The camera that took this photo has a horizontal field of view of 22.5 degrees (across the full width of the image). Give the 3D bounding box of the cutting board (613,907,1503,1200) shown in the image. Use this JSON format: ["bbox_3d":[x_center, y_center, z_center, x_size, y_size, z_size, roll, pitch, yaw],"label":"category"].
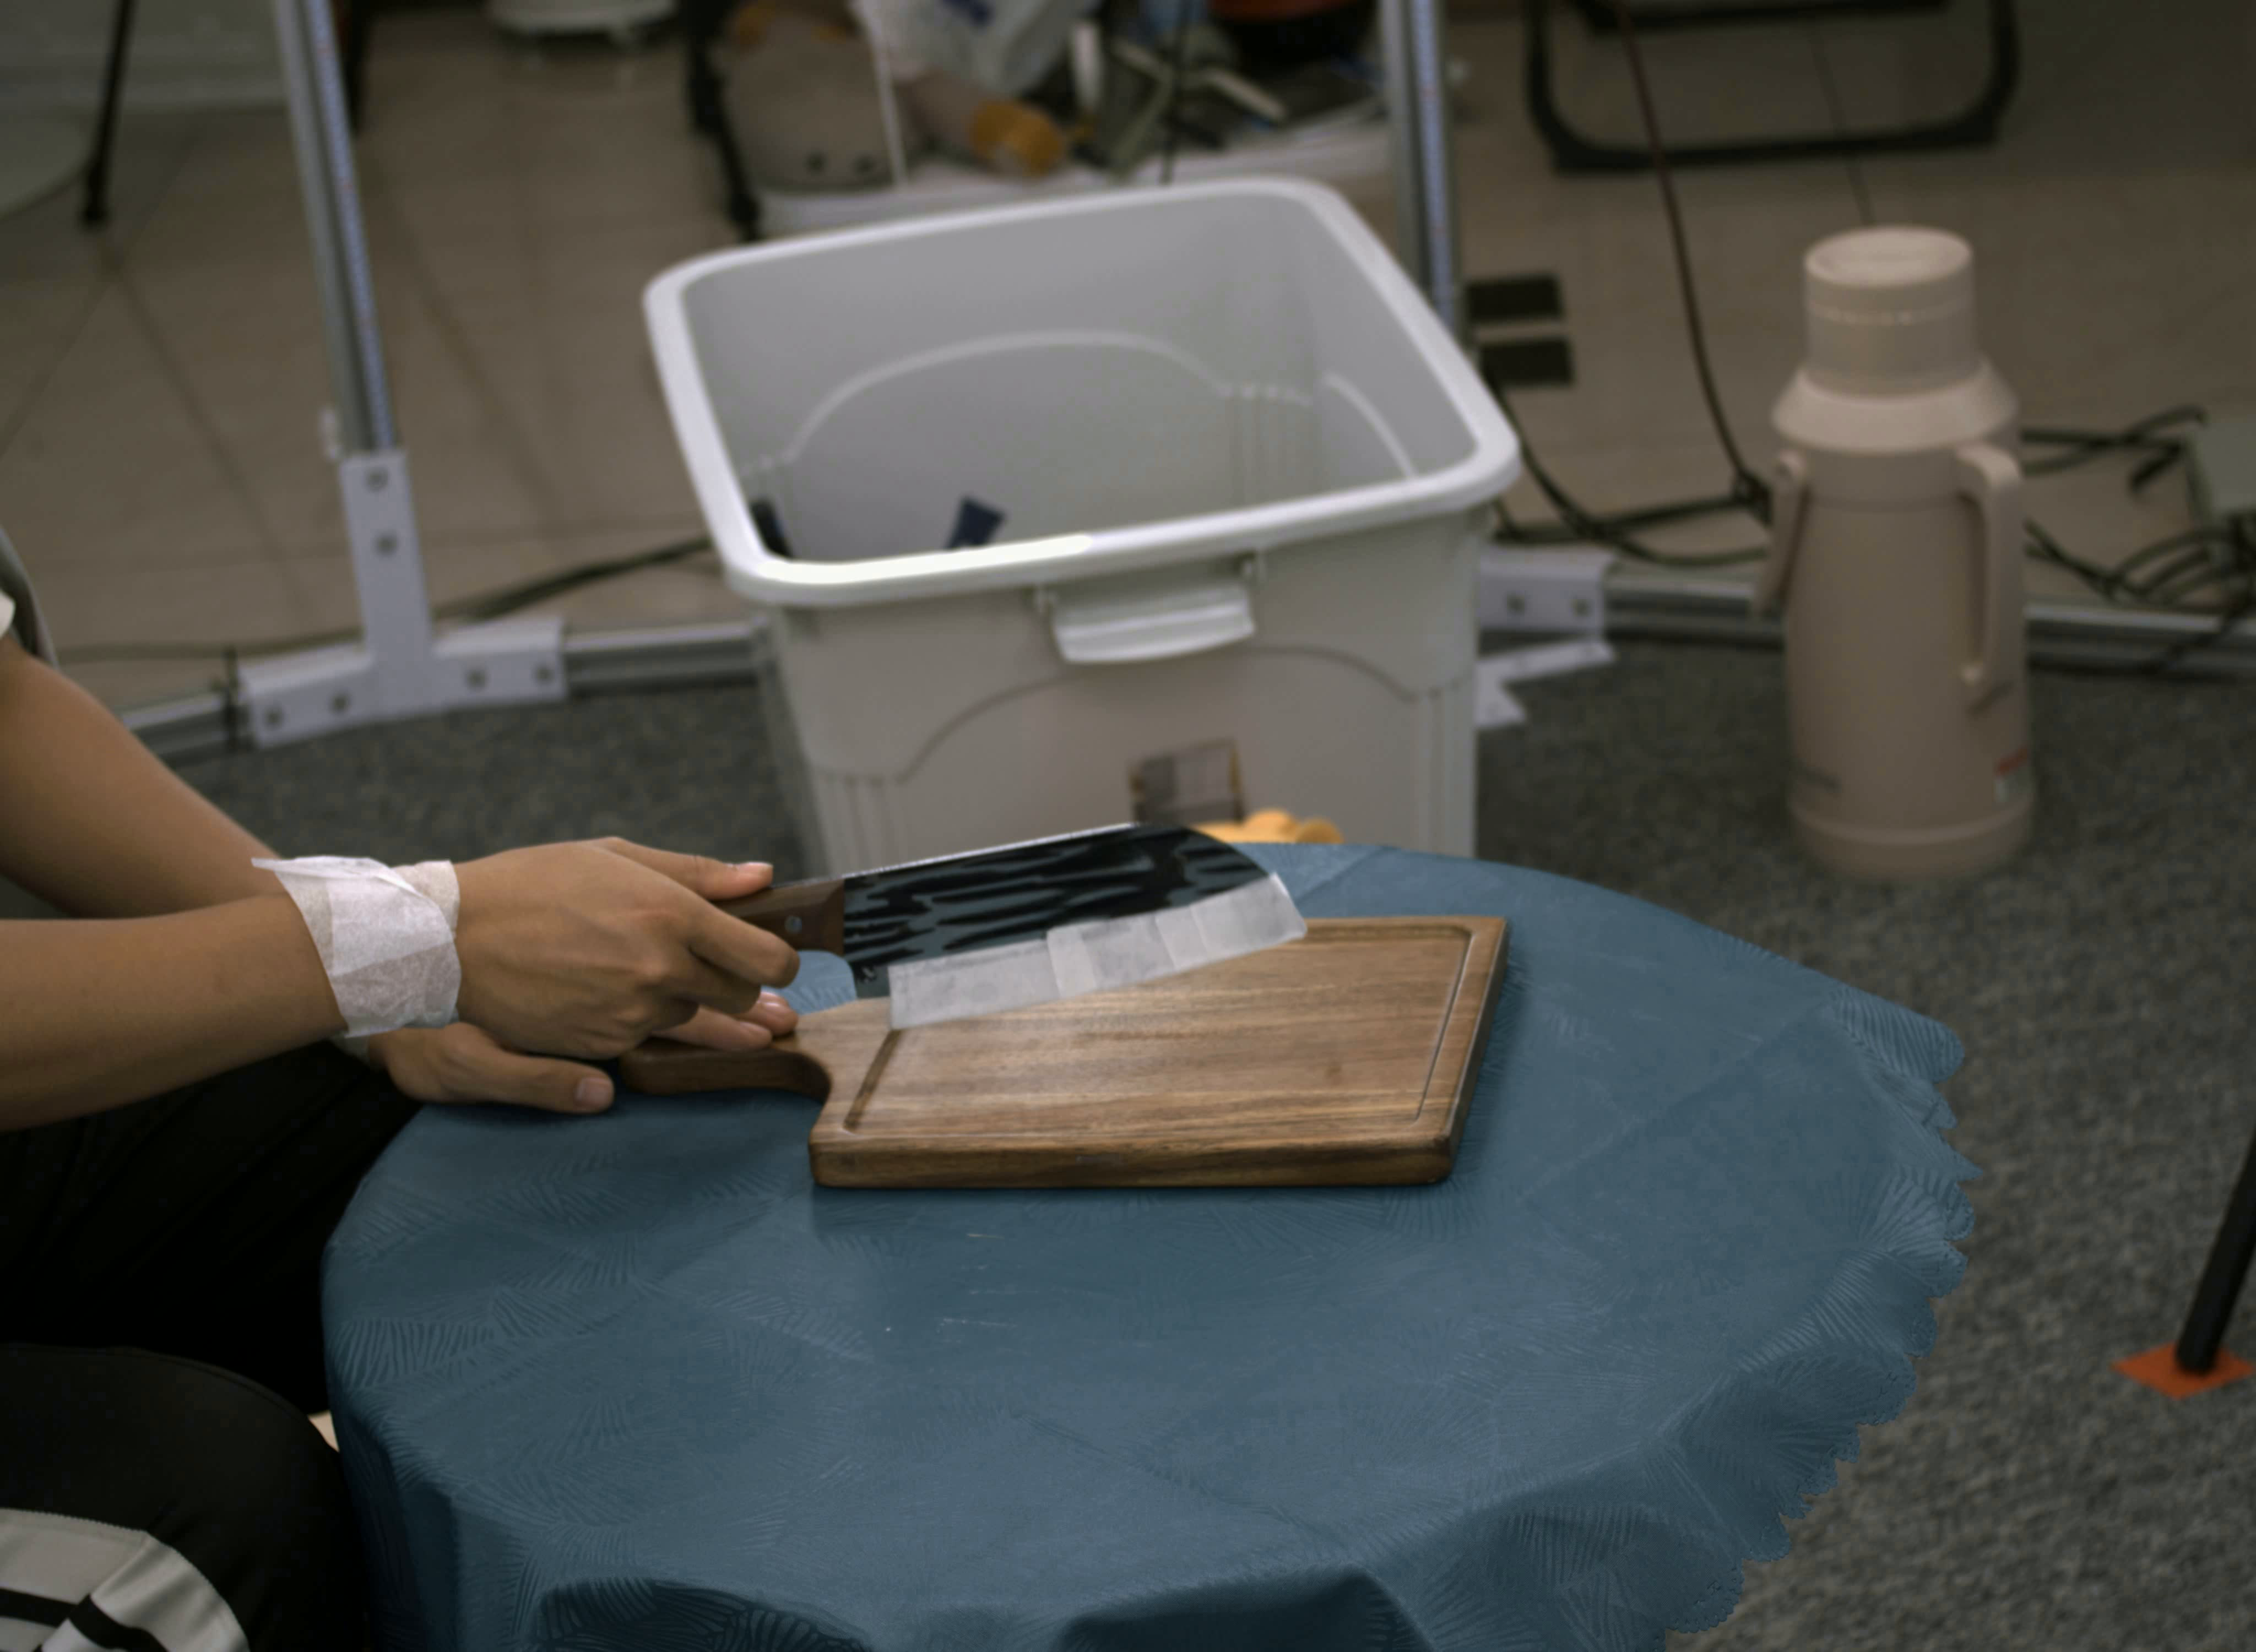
[{"bbox_3d":[-0.033,0.089,2.246,0.351,0.023,0.198,-2,27,12],"label":"cutting board"}]

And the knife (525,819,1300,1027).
[{"bbox_3d":[-0.082,0.043,2.201,0.299,0.069,0.023,-9,21,-4],"label":"knife"}]
